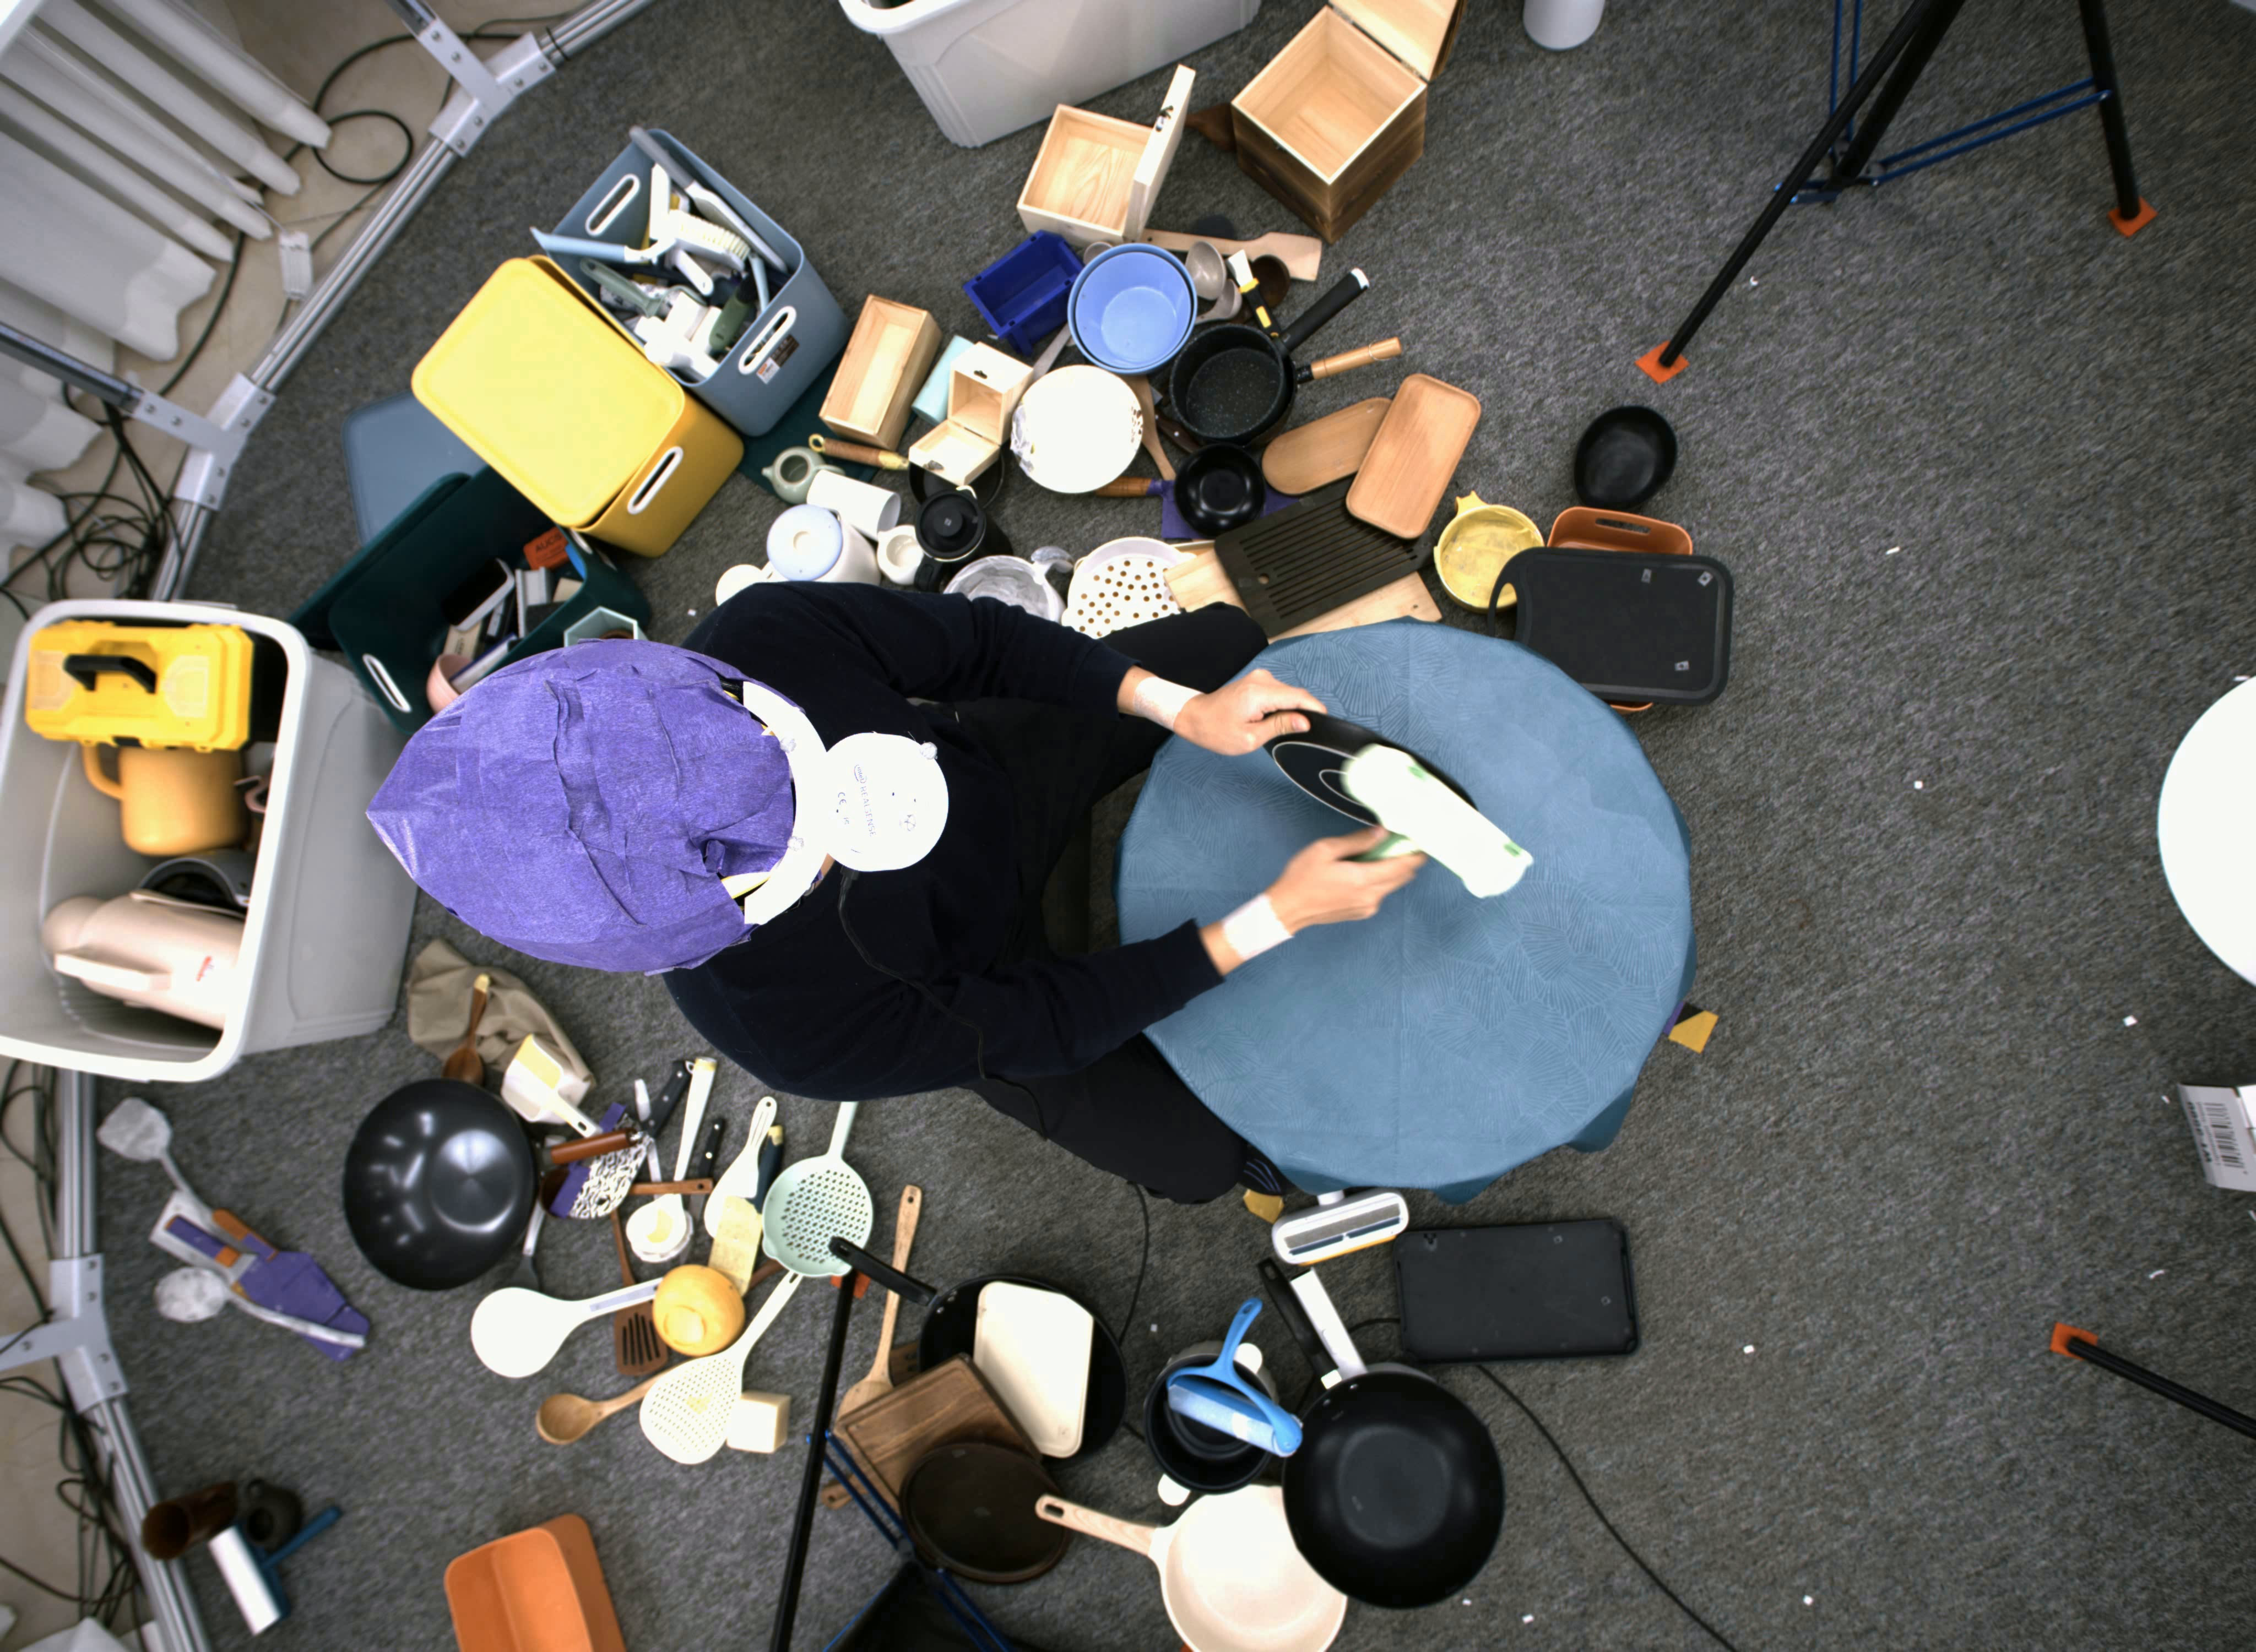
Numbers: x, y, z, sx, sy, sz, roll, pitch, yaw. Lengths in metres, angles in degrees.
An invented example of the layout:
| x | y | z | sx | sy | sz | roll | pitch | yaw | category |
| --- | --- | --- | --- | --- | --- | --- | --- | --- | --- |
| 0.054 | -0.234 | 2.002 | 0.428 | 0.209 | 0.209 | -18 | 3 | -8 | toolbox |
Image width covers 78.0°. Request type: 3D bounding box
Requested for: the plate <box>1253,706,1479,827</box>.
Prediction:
| x | y | z | sx | sy | sz | roll | pitch | yaw | category |
| --- | --- | --- | --- | --- | --- | --- | --- | --- | --- |
| 0.227 | -0.044 | 1.351 | 0.244 | 0.247 | 0.023 | 26 | 79 | 11 | plate |

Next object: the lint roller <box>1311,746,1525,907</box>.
| x | y | z | sx | sy | sz | roll | pitch | yaw | category |
| --- | --- | --- | --- | --- | --- | --- | --- | --- | --- |
| 0.240 | 0.033 | 1.280 | 0.200 | 0.080 | 0.187 | 32 | 121 | -23 | lint roller |
